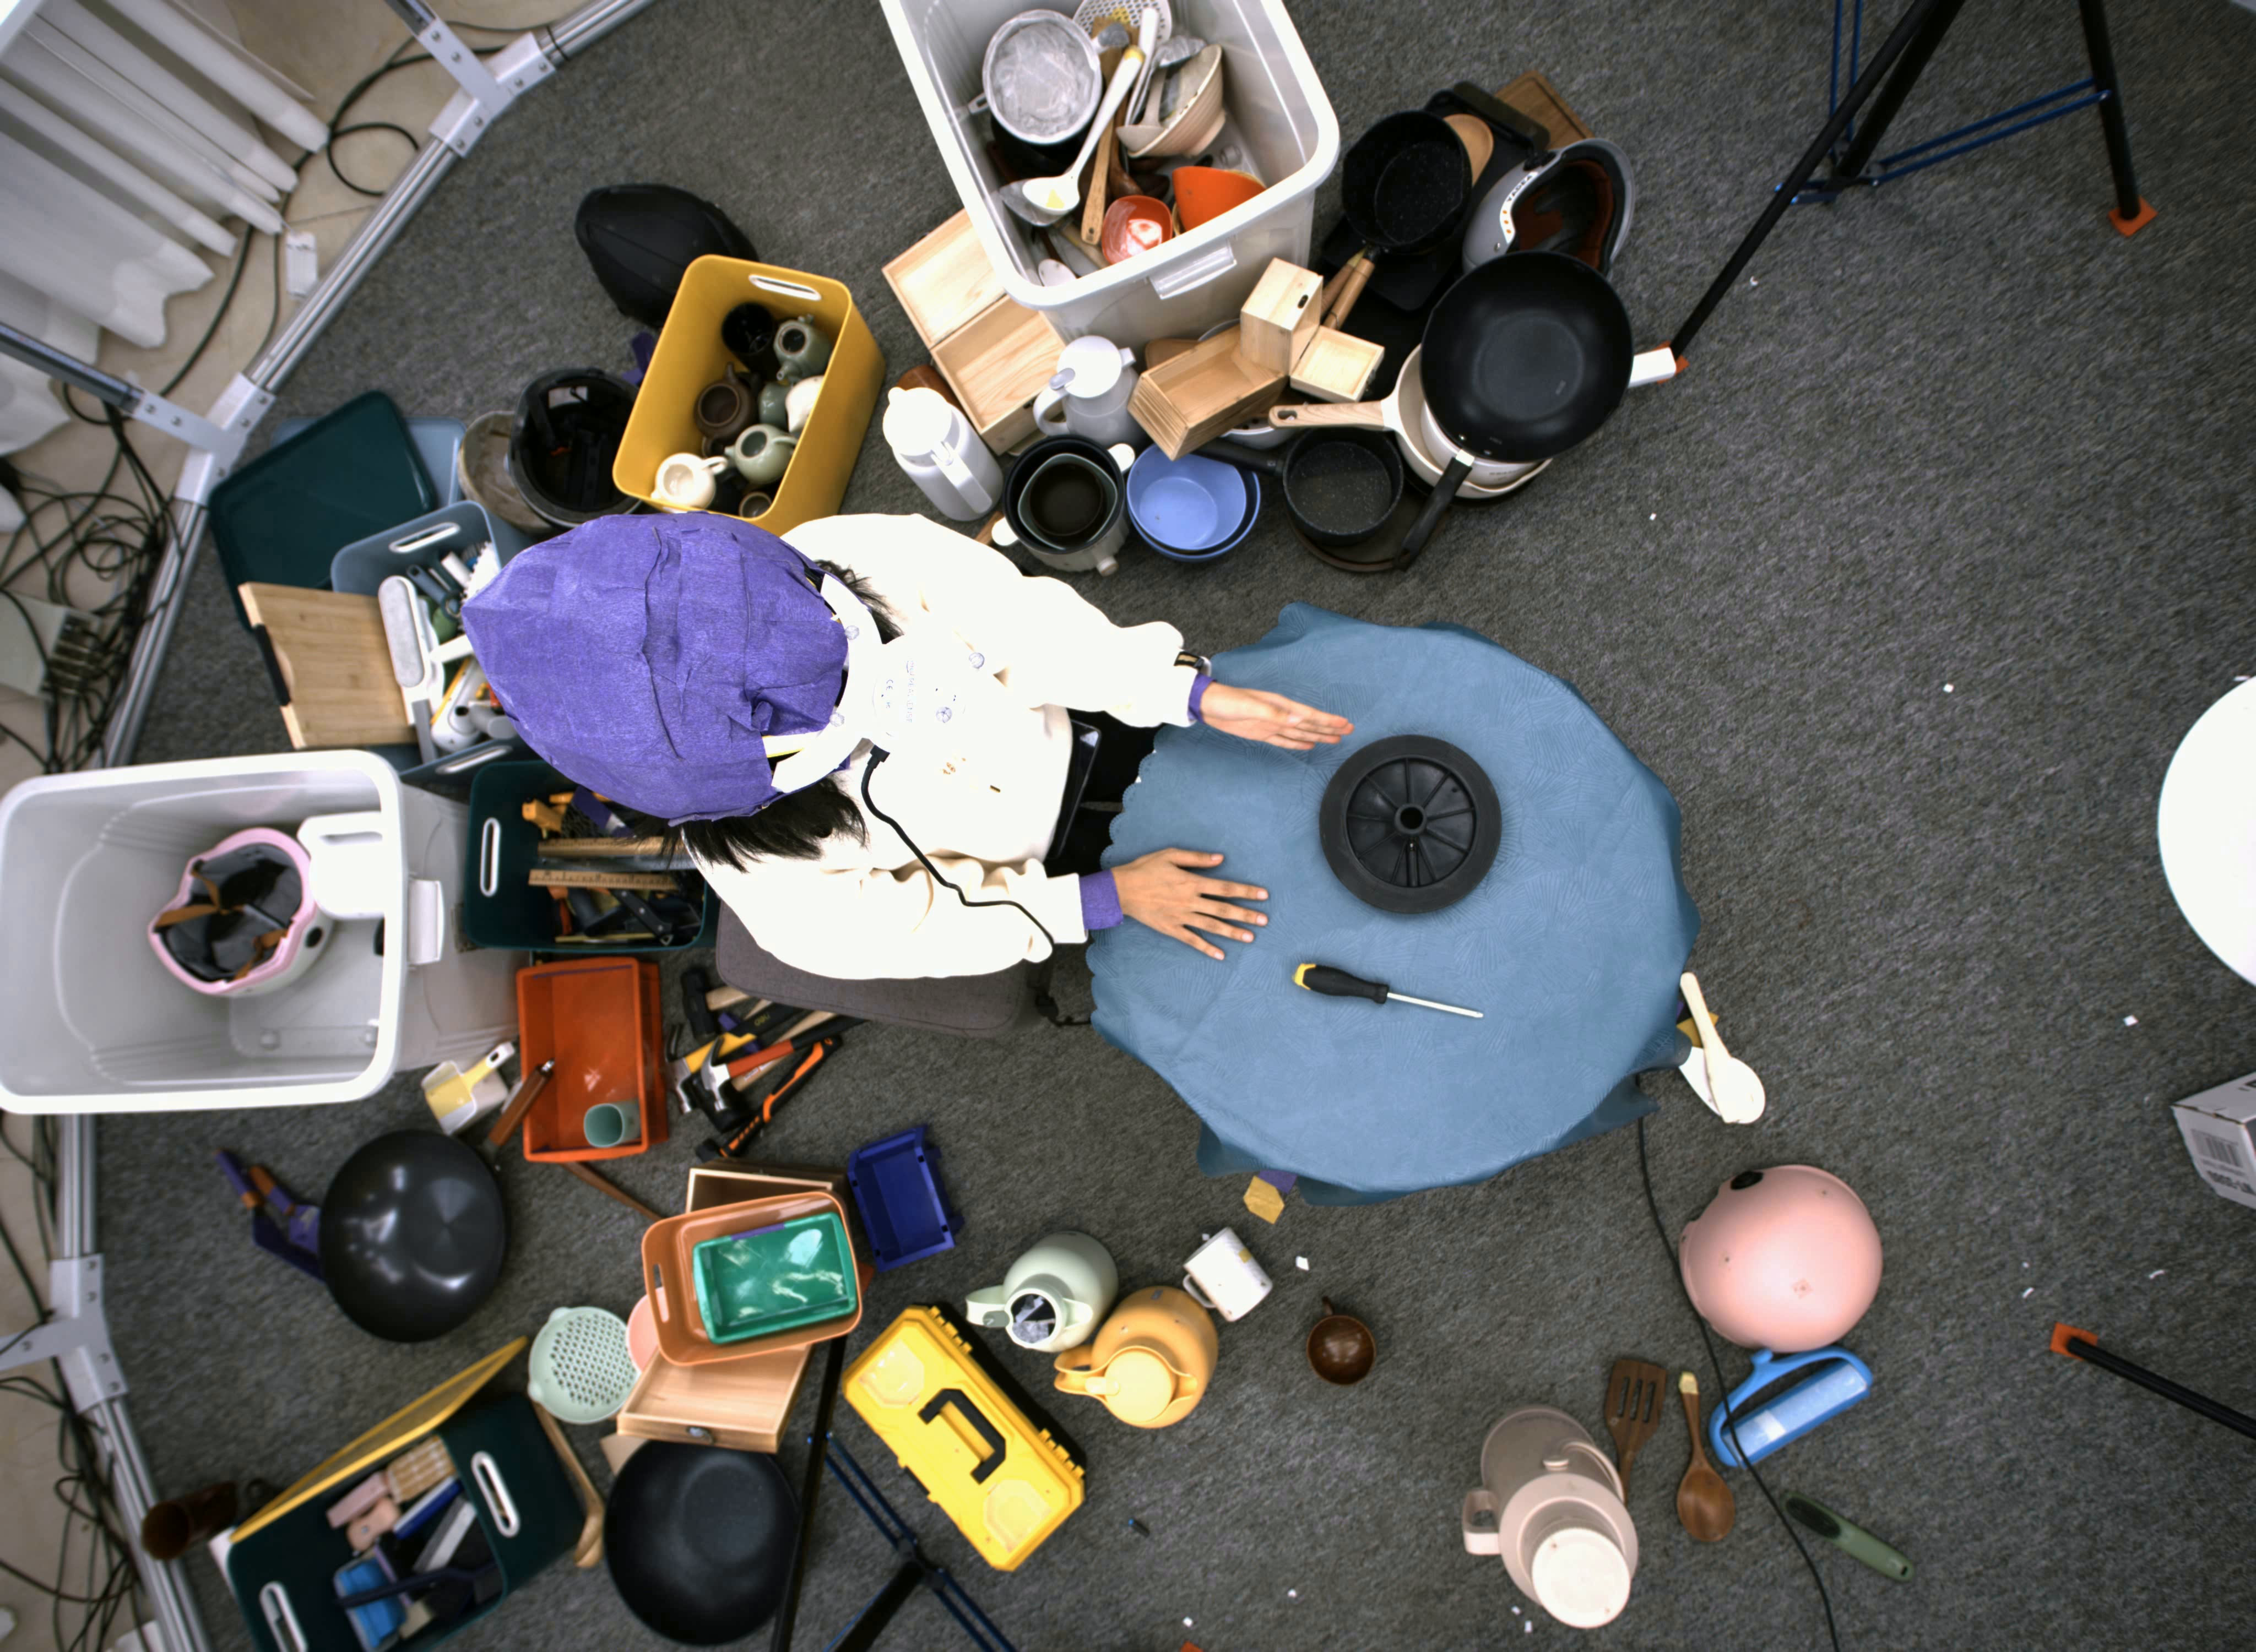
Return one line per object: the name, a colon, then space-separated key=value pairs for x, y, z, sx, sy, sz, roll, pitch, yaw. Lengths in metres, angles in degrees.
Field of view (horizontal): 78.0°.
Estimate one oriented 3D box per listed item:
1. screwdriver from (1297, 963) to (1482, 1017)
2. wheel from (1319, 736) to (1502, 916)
screwdriver: x=0.274 y=0.170 z=1.442 sx=0.196 sy=0.031 sz=0.031 roll=10 pitch=87 yaw=9
wheel: x=0.292 y=-0.003 z=1.423 sx=0.188 sy=0.079 sz=0.189 roll=-27 pitch=84 yaw=9
